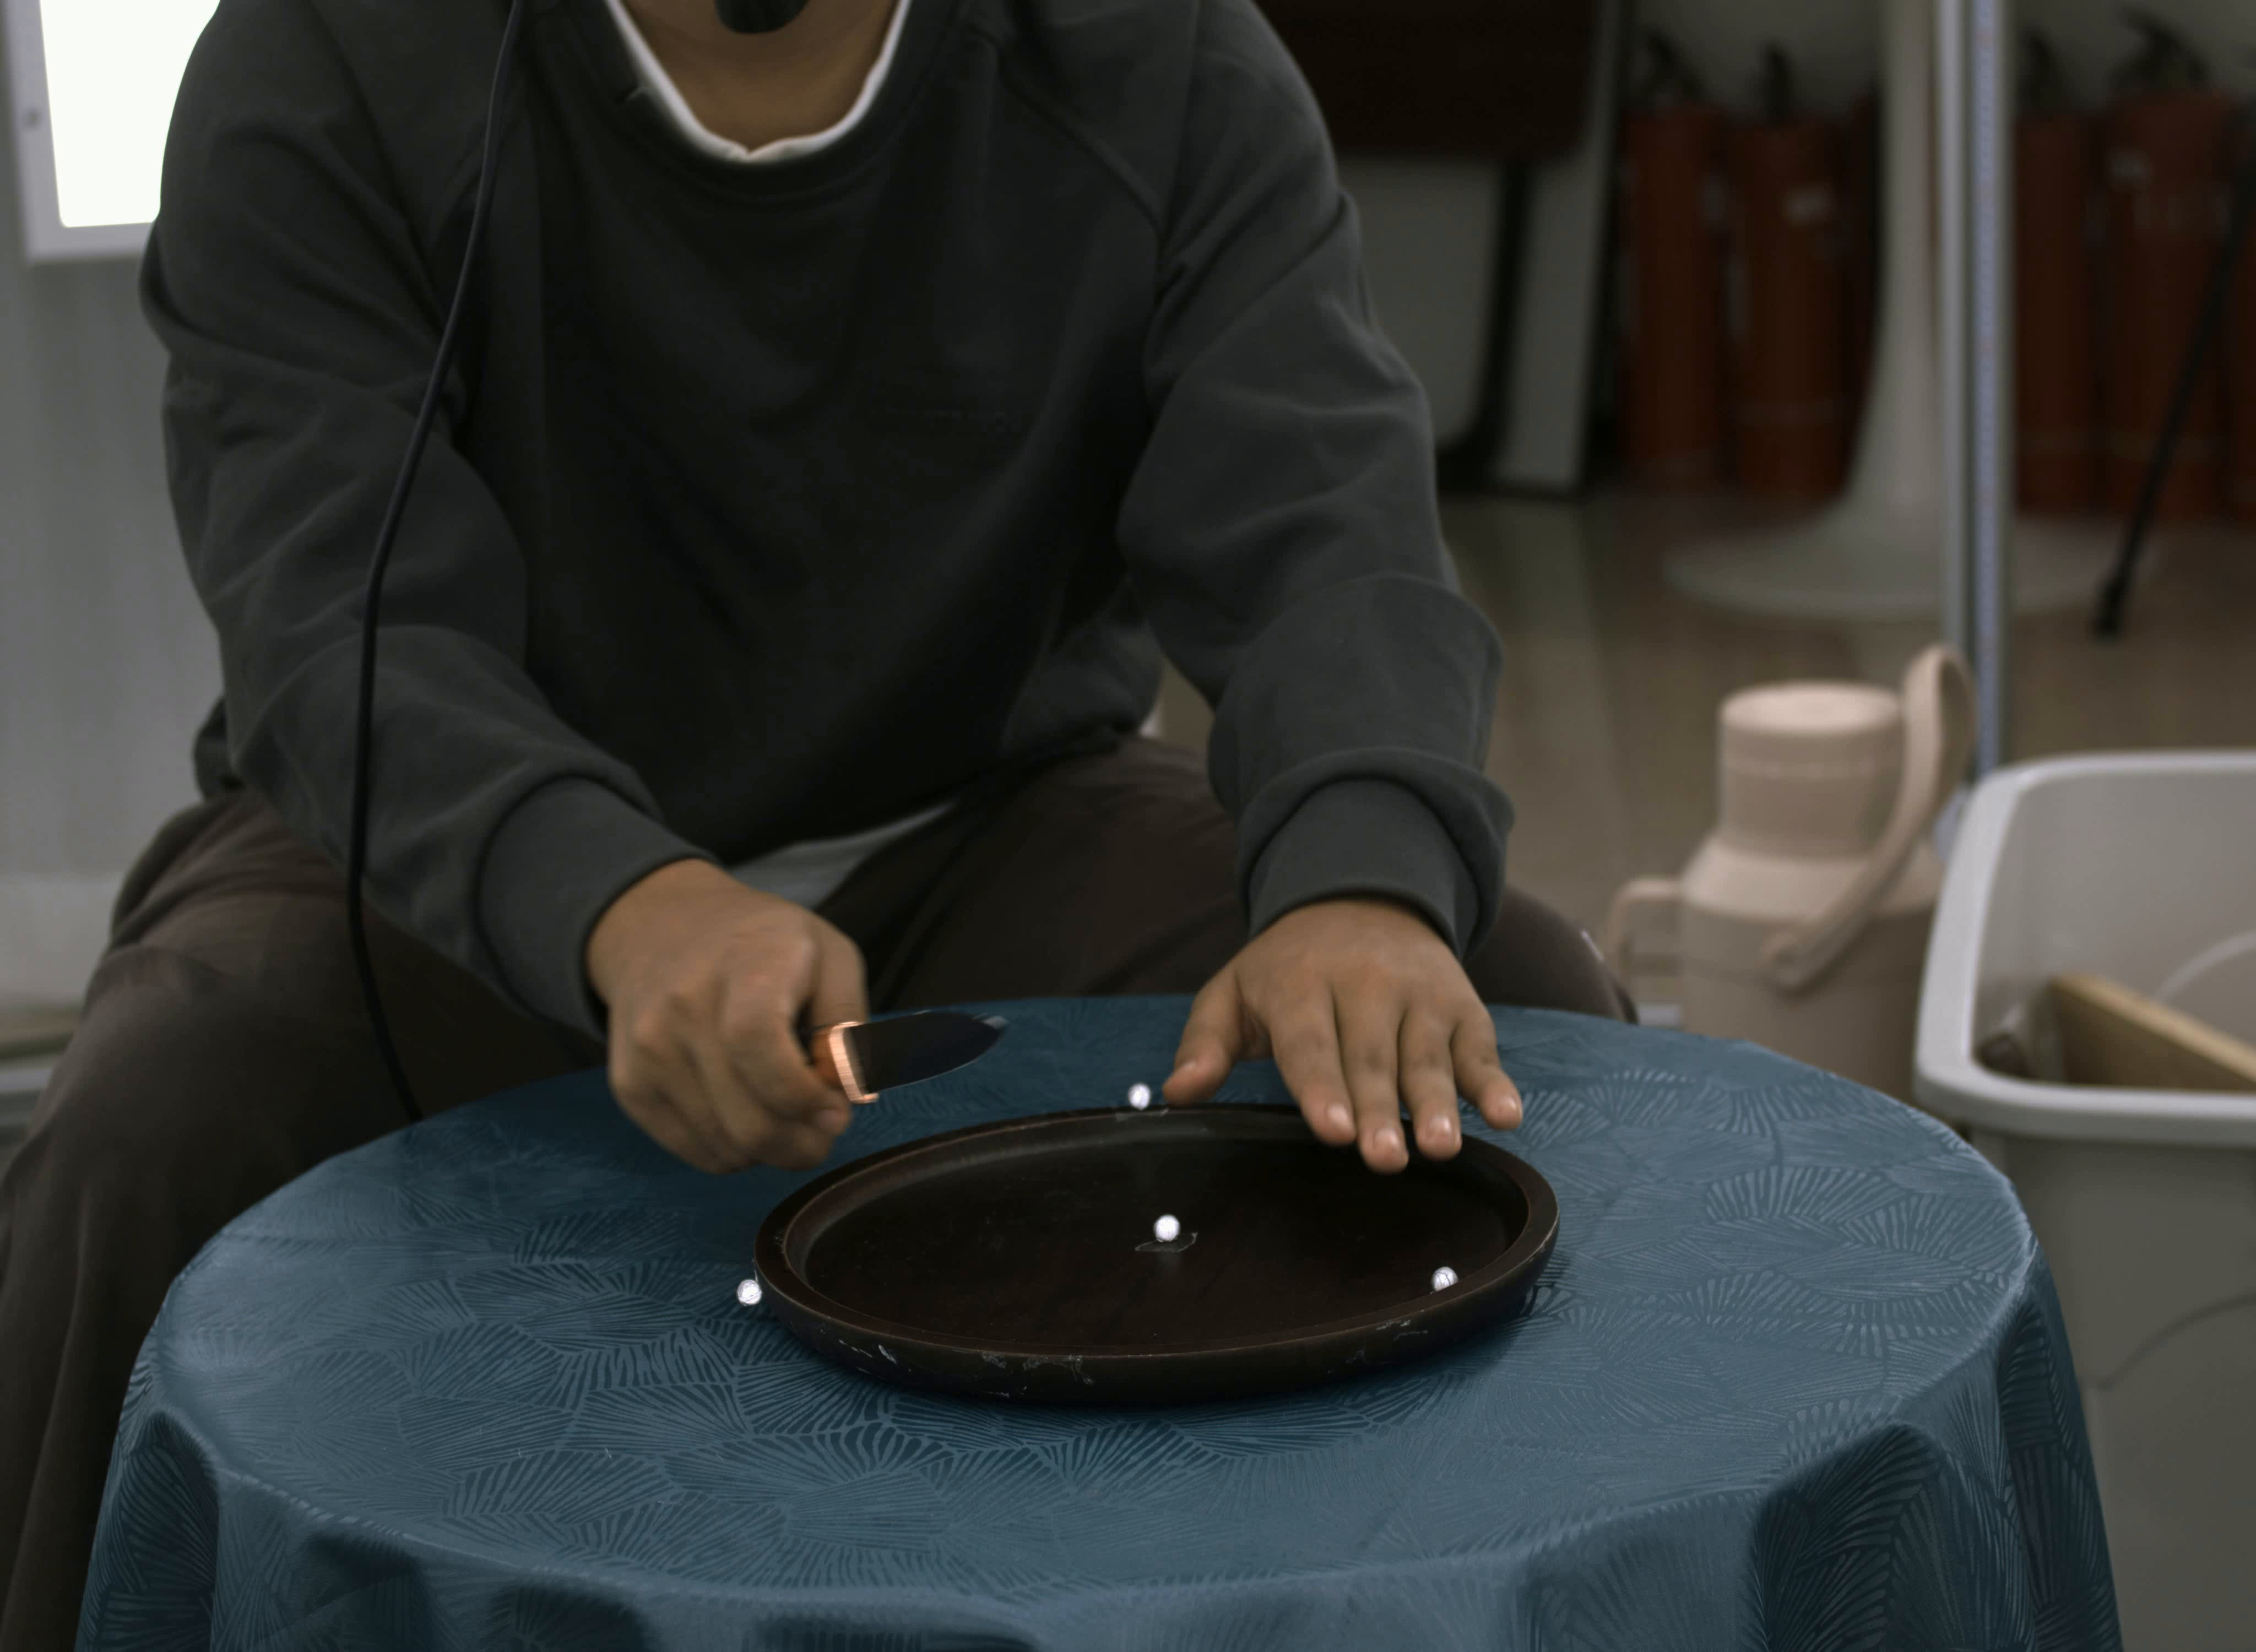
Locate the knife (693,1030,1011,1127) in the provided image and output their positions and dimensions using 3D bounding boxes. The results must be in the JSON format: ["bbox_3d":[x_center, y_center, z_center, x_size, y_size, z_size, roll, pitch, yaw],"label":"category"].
[{"bbox_3d":[-0.085,0.075,1.638,0.017,0.026,0.227,-10,-2,-27],"label":"knife"}]

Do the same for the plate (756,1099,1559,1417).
[{"bbox_3d":[0.010,0.132,1.678,0.251,0.029,0.255,-5,13,0],"label":"plate"}]
